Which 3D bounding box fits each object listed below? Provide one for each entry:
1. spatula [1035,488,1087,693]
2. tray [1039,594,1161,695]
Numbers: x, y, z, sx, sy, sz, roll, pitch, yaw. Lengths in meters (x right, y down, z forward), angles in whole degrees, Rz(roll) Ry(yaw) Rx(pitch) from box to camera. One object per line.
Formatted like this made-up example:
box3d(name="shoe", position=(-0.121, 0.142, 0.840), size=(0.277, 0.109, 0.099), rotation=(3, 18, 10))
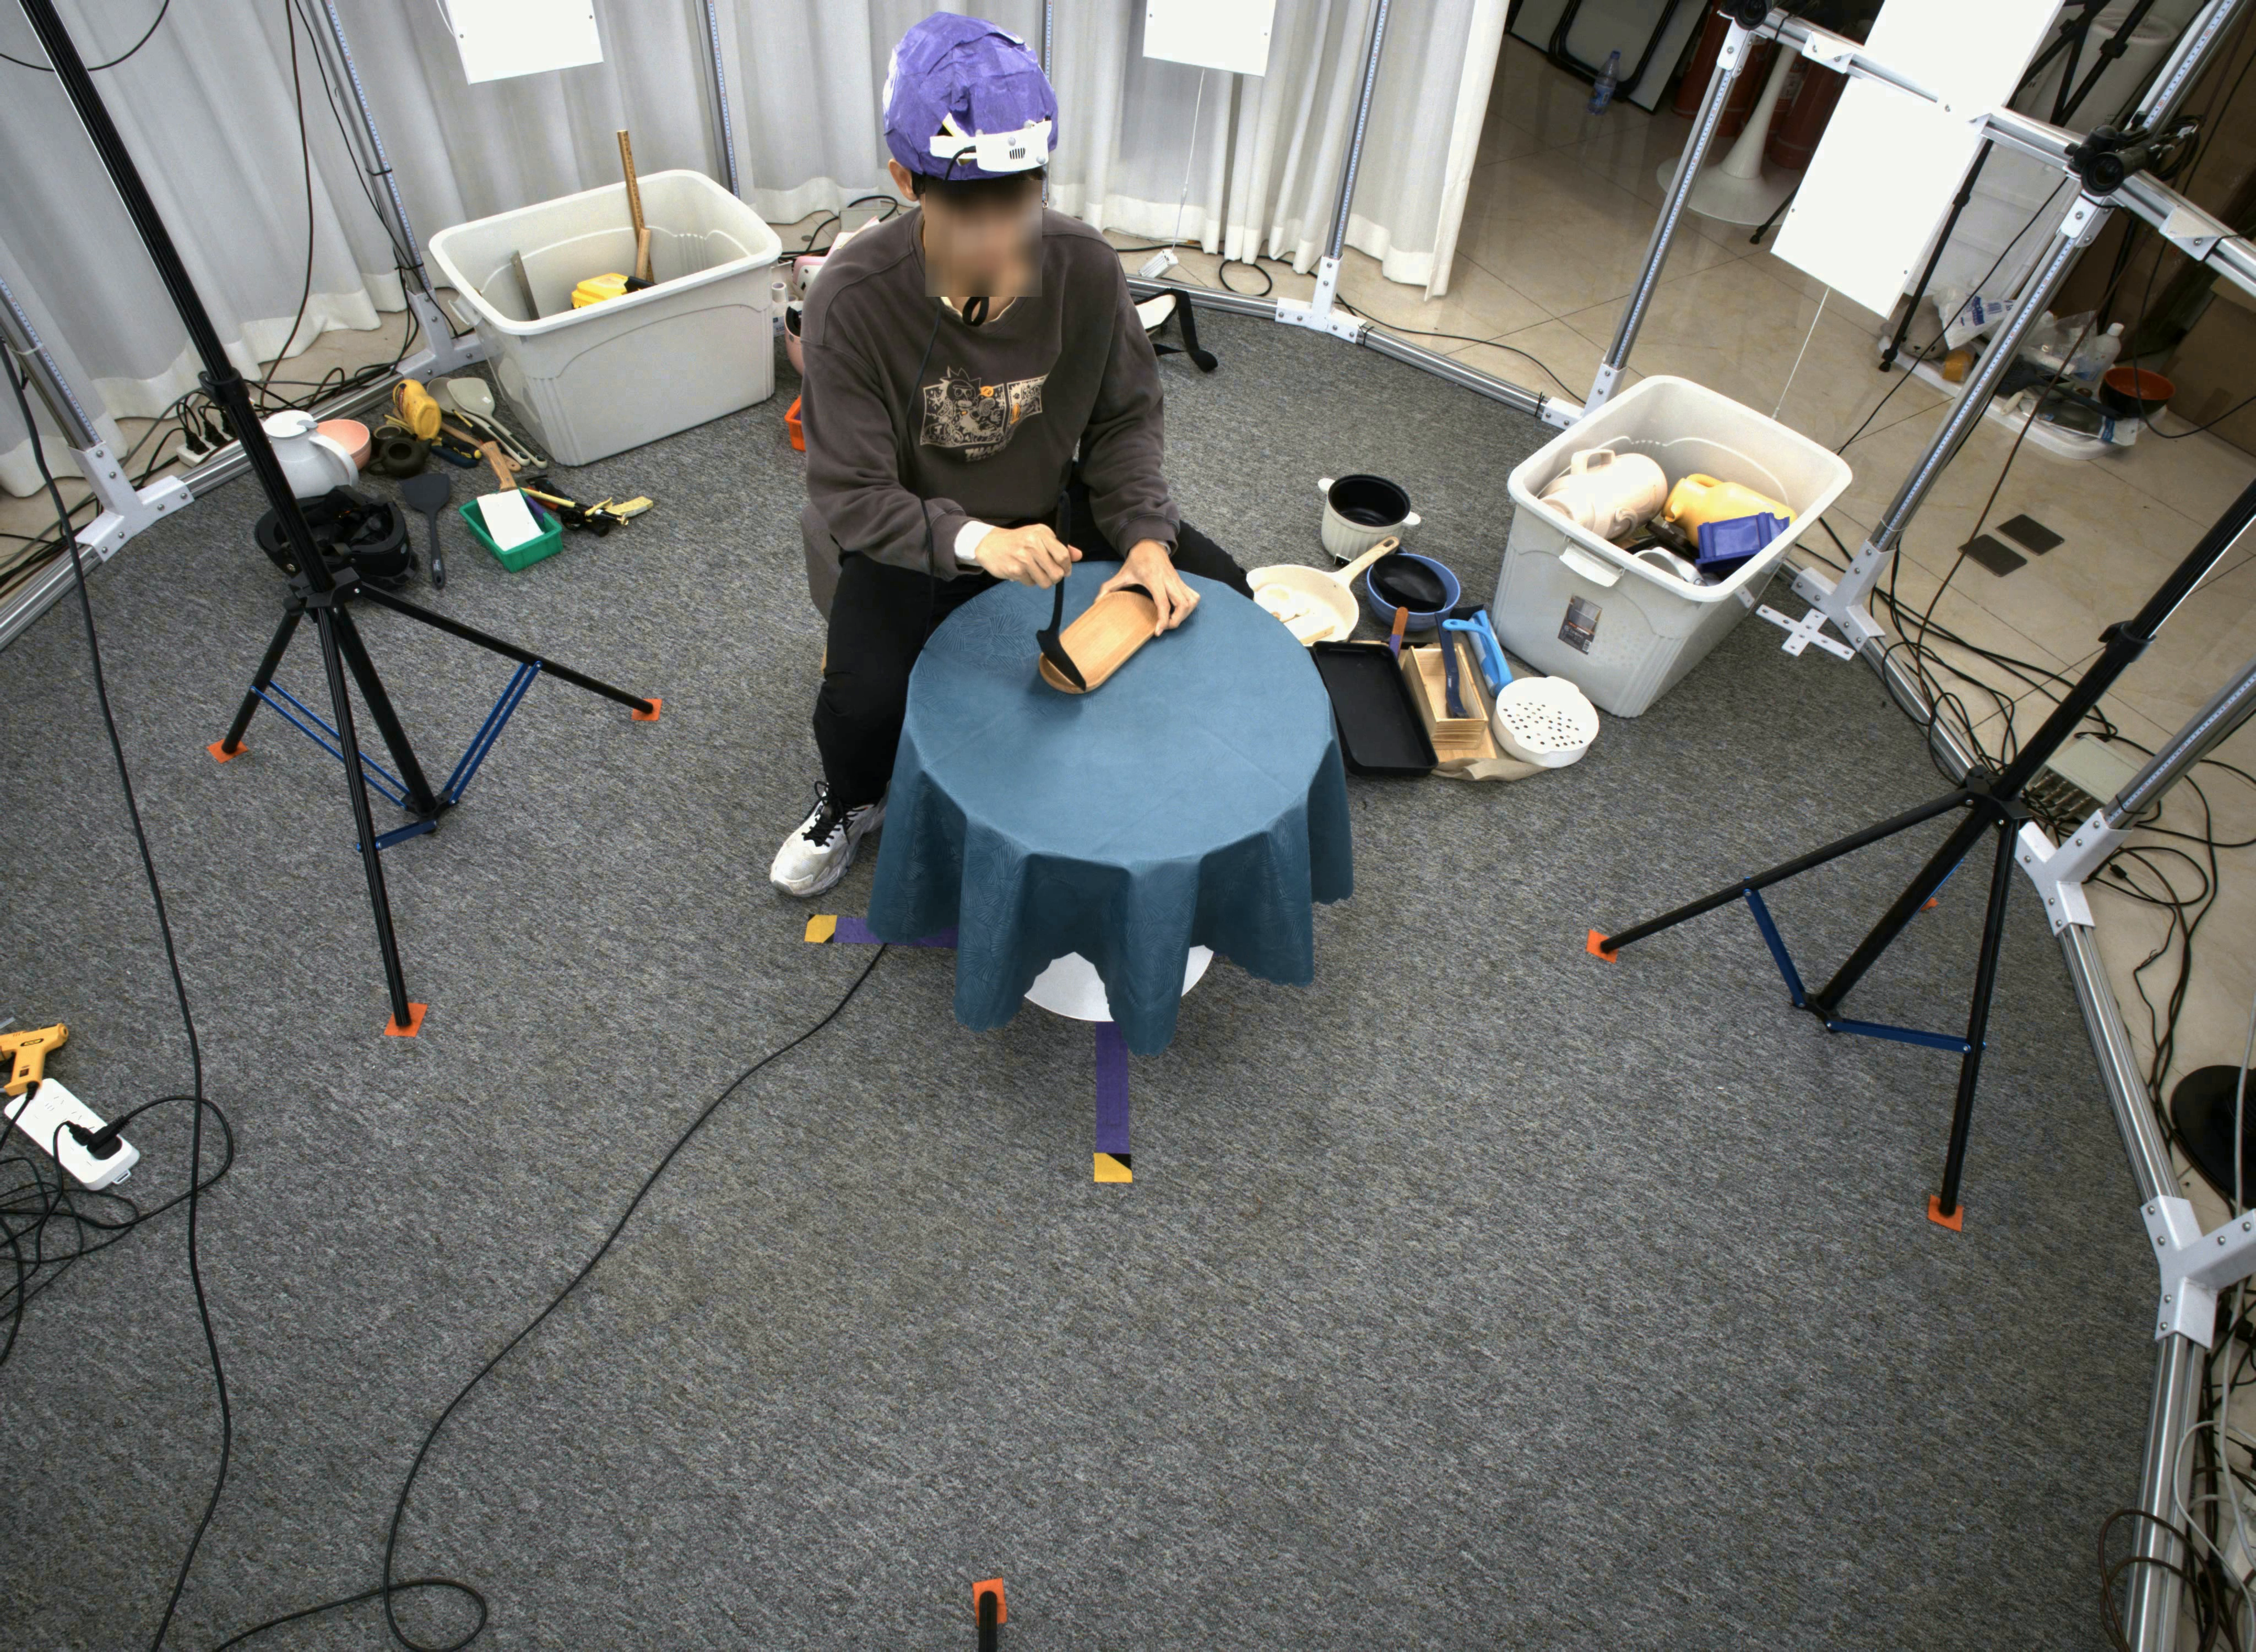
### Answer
box3d(name="spatula", position=(-0.087, -0.312, 1.709), size=(0.040, 0.318, 0.101), rotation=(-29, 57, -31))
box3d(name="tray", position=(-0.039, -0.268, 1.885), size=(0.103, 0.020, 0.234), rotation=(31, 56, 19))
